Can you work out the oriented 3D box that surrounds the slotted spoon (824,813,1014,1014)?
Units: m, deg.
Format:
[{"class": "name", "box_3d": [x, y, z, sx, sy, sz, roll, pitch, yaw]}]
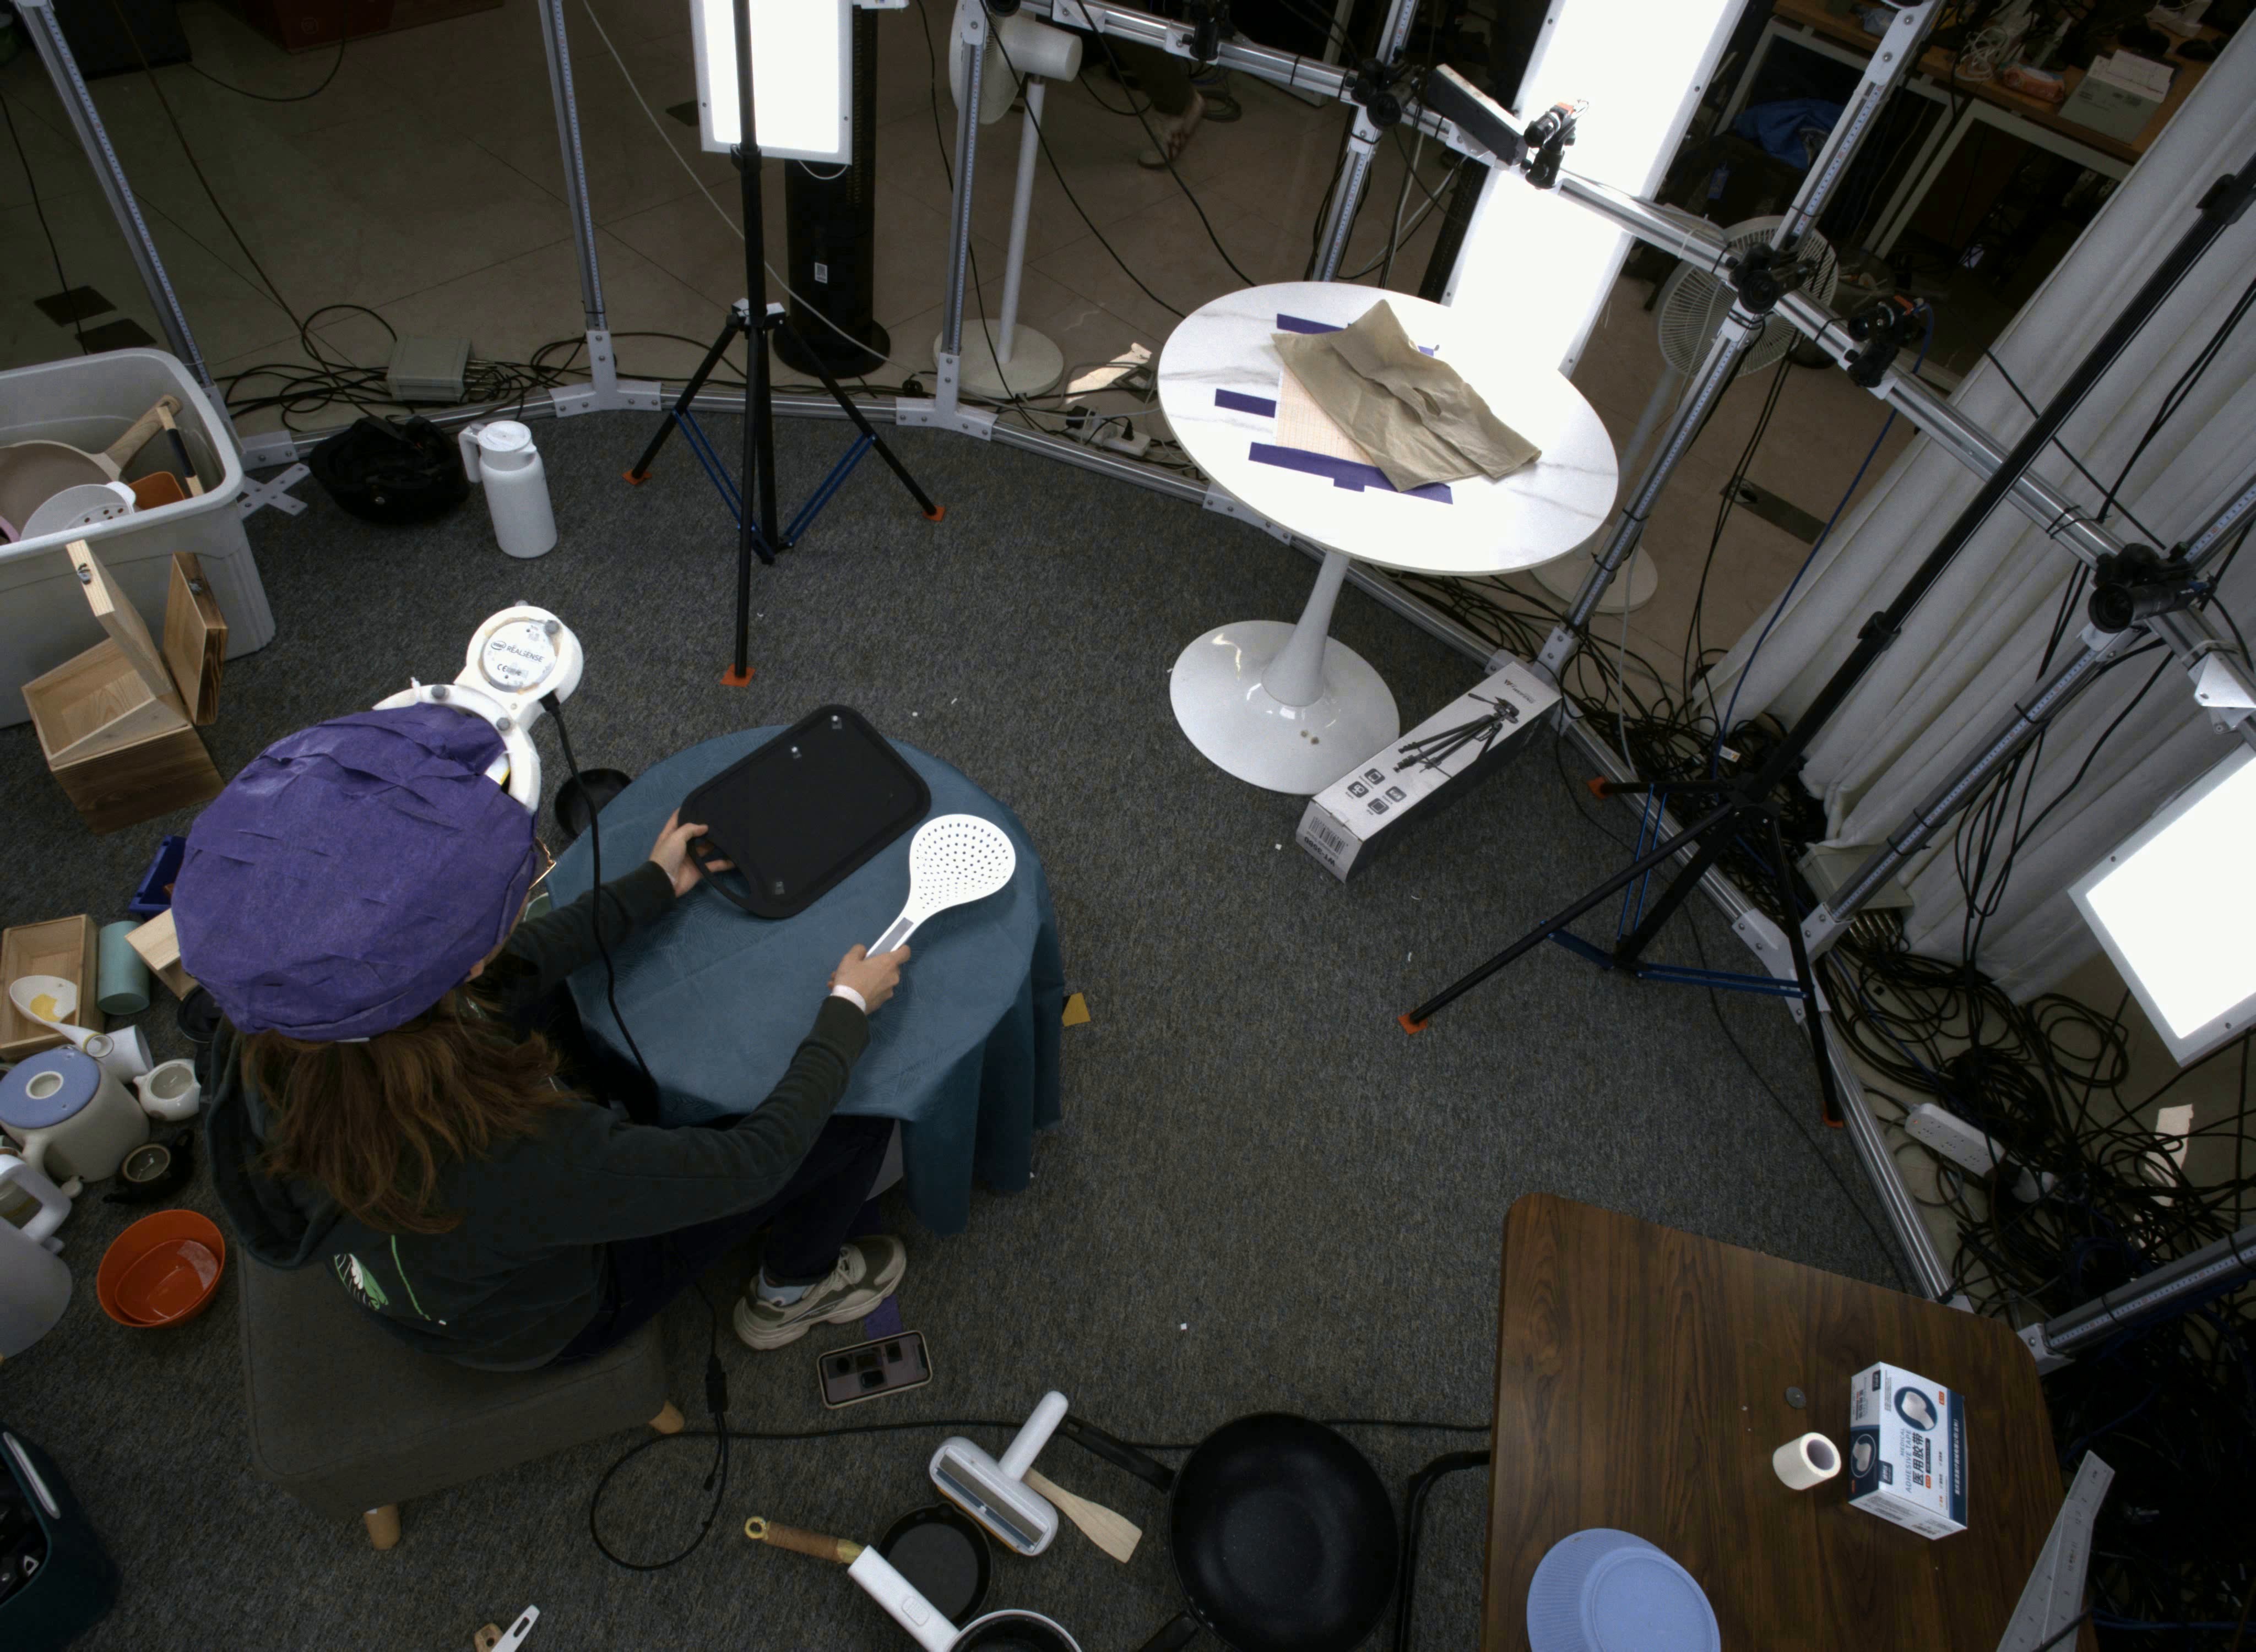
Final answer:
[{"class": "slotted spoon", "box_3d": [-0.267, 0.106, 1.640, 0.134, 0.046, 0.348, 30, 45, 8]}]

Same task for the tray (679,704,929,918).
[{"class": "tray", "box_3d": [-0.426, -0.023, 1.706, 0.211, 0.010, 0.325, 47, 55, 2]}]
